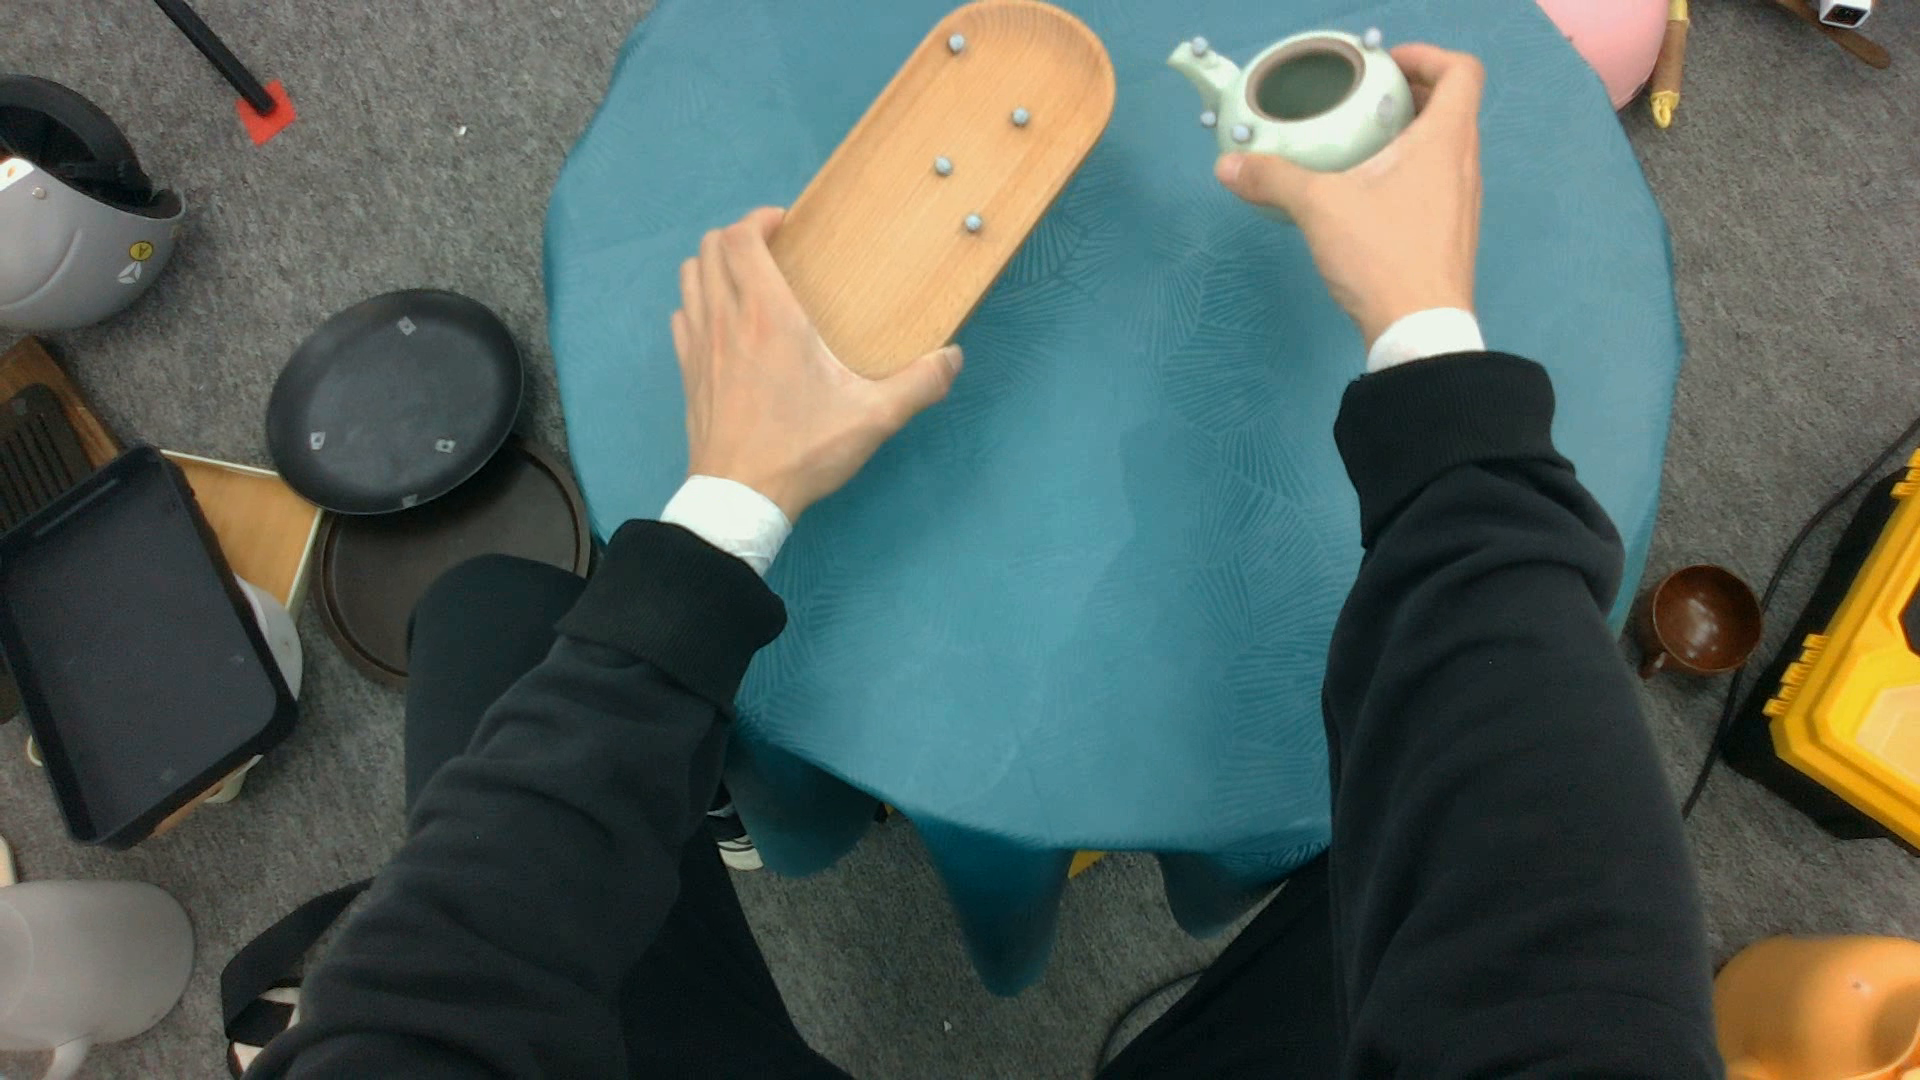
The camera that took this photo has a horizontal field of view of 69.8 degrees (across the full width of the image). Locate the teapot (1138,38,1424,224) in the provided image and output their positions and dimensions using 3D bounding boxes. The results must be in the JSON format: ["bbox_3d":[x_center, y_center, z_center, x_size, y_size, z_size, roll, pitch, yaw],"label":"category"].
[{"bbox_3d":[0.152,-0.195,0.654,0.144,0.074,0.088,28,74,32],"label":"teapot"}]

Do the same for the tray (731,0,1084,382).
[{"bbox_3d":[-0.023,-0.175,0.676,0.101,0.020,0.232,31,75,8],"label":"tray"}]
